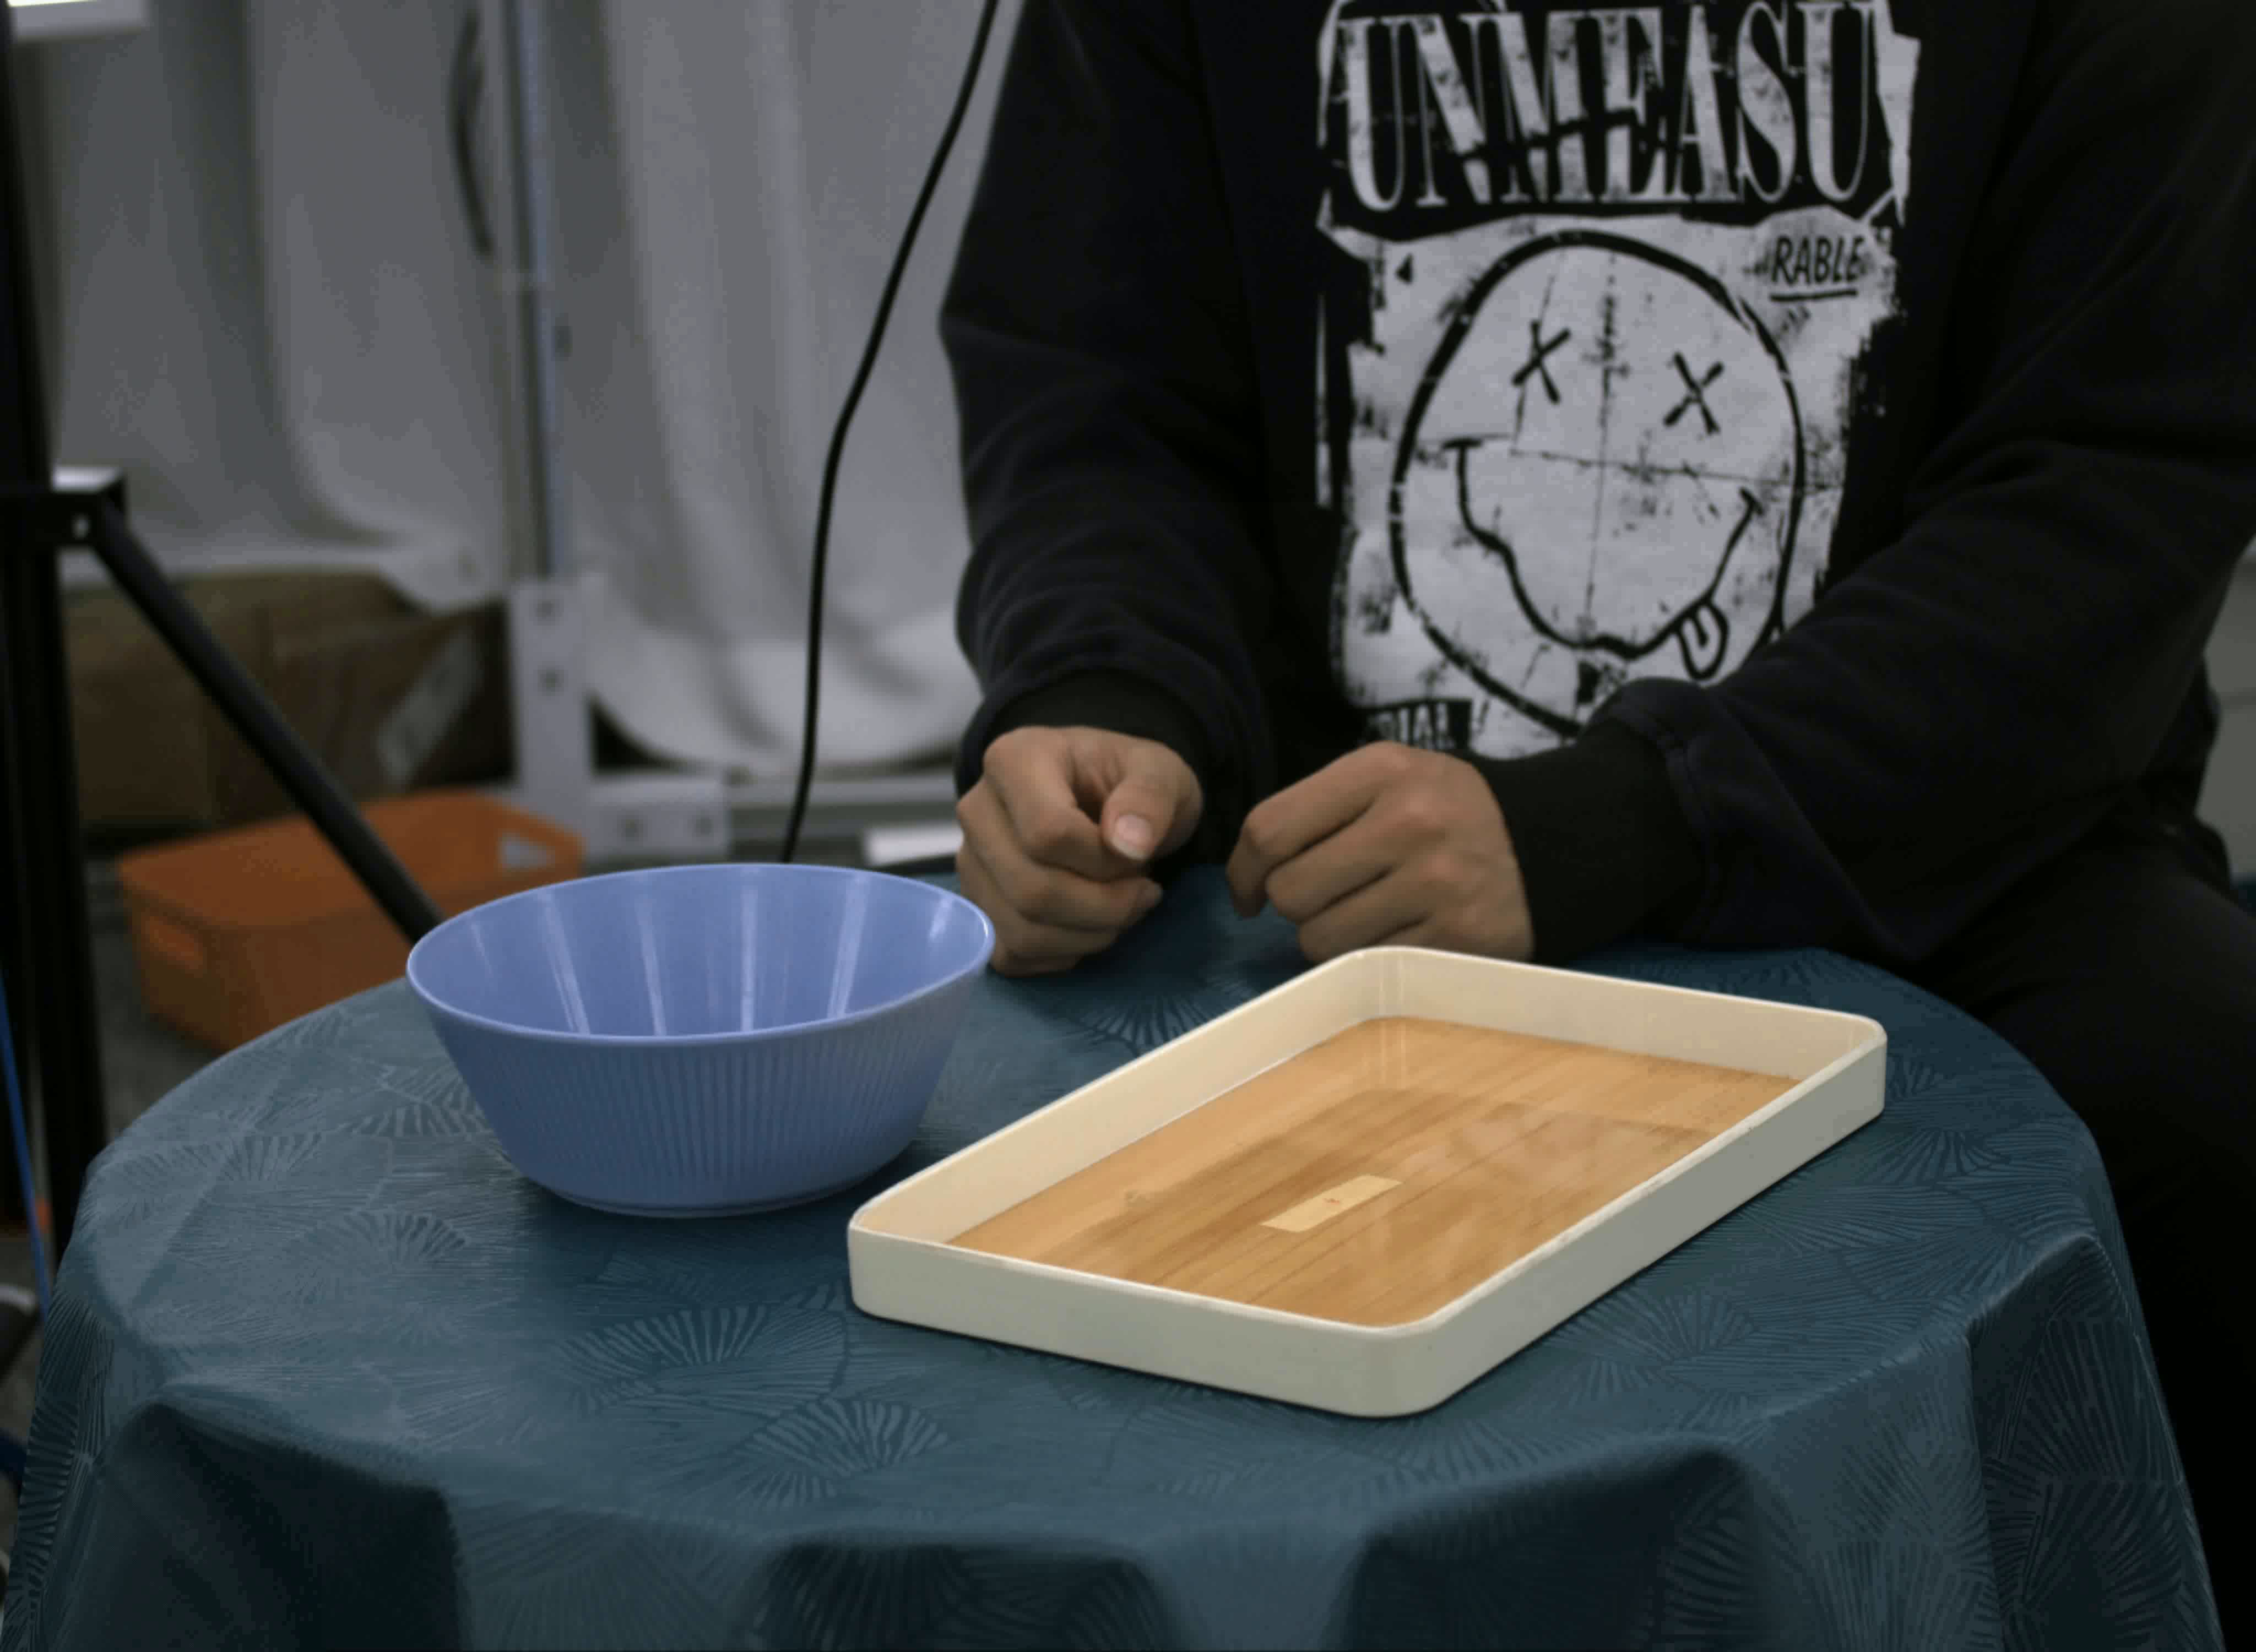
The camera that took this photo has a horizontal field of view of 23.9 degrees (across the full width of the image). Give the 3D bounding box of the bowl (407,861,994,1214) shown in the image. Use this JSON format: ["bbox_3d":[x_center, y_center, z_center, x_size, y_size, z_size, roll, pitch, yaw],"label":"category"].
[{"bbox_3d":[-0.127,0.066,1.598,0.175,0.070,0.177,-2,16,-1],"label":"bowl"}]

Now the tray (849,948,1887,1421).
[{"bbox_3d":[0.076,0.098,1.533,0.195,0.027,0.294,8,19,34],"label":"tray"}]
